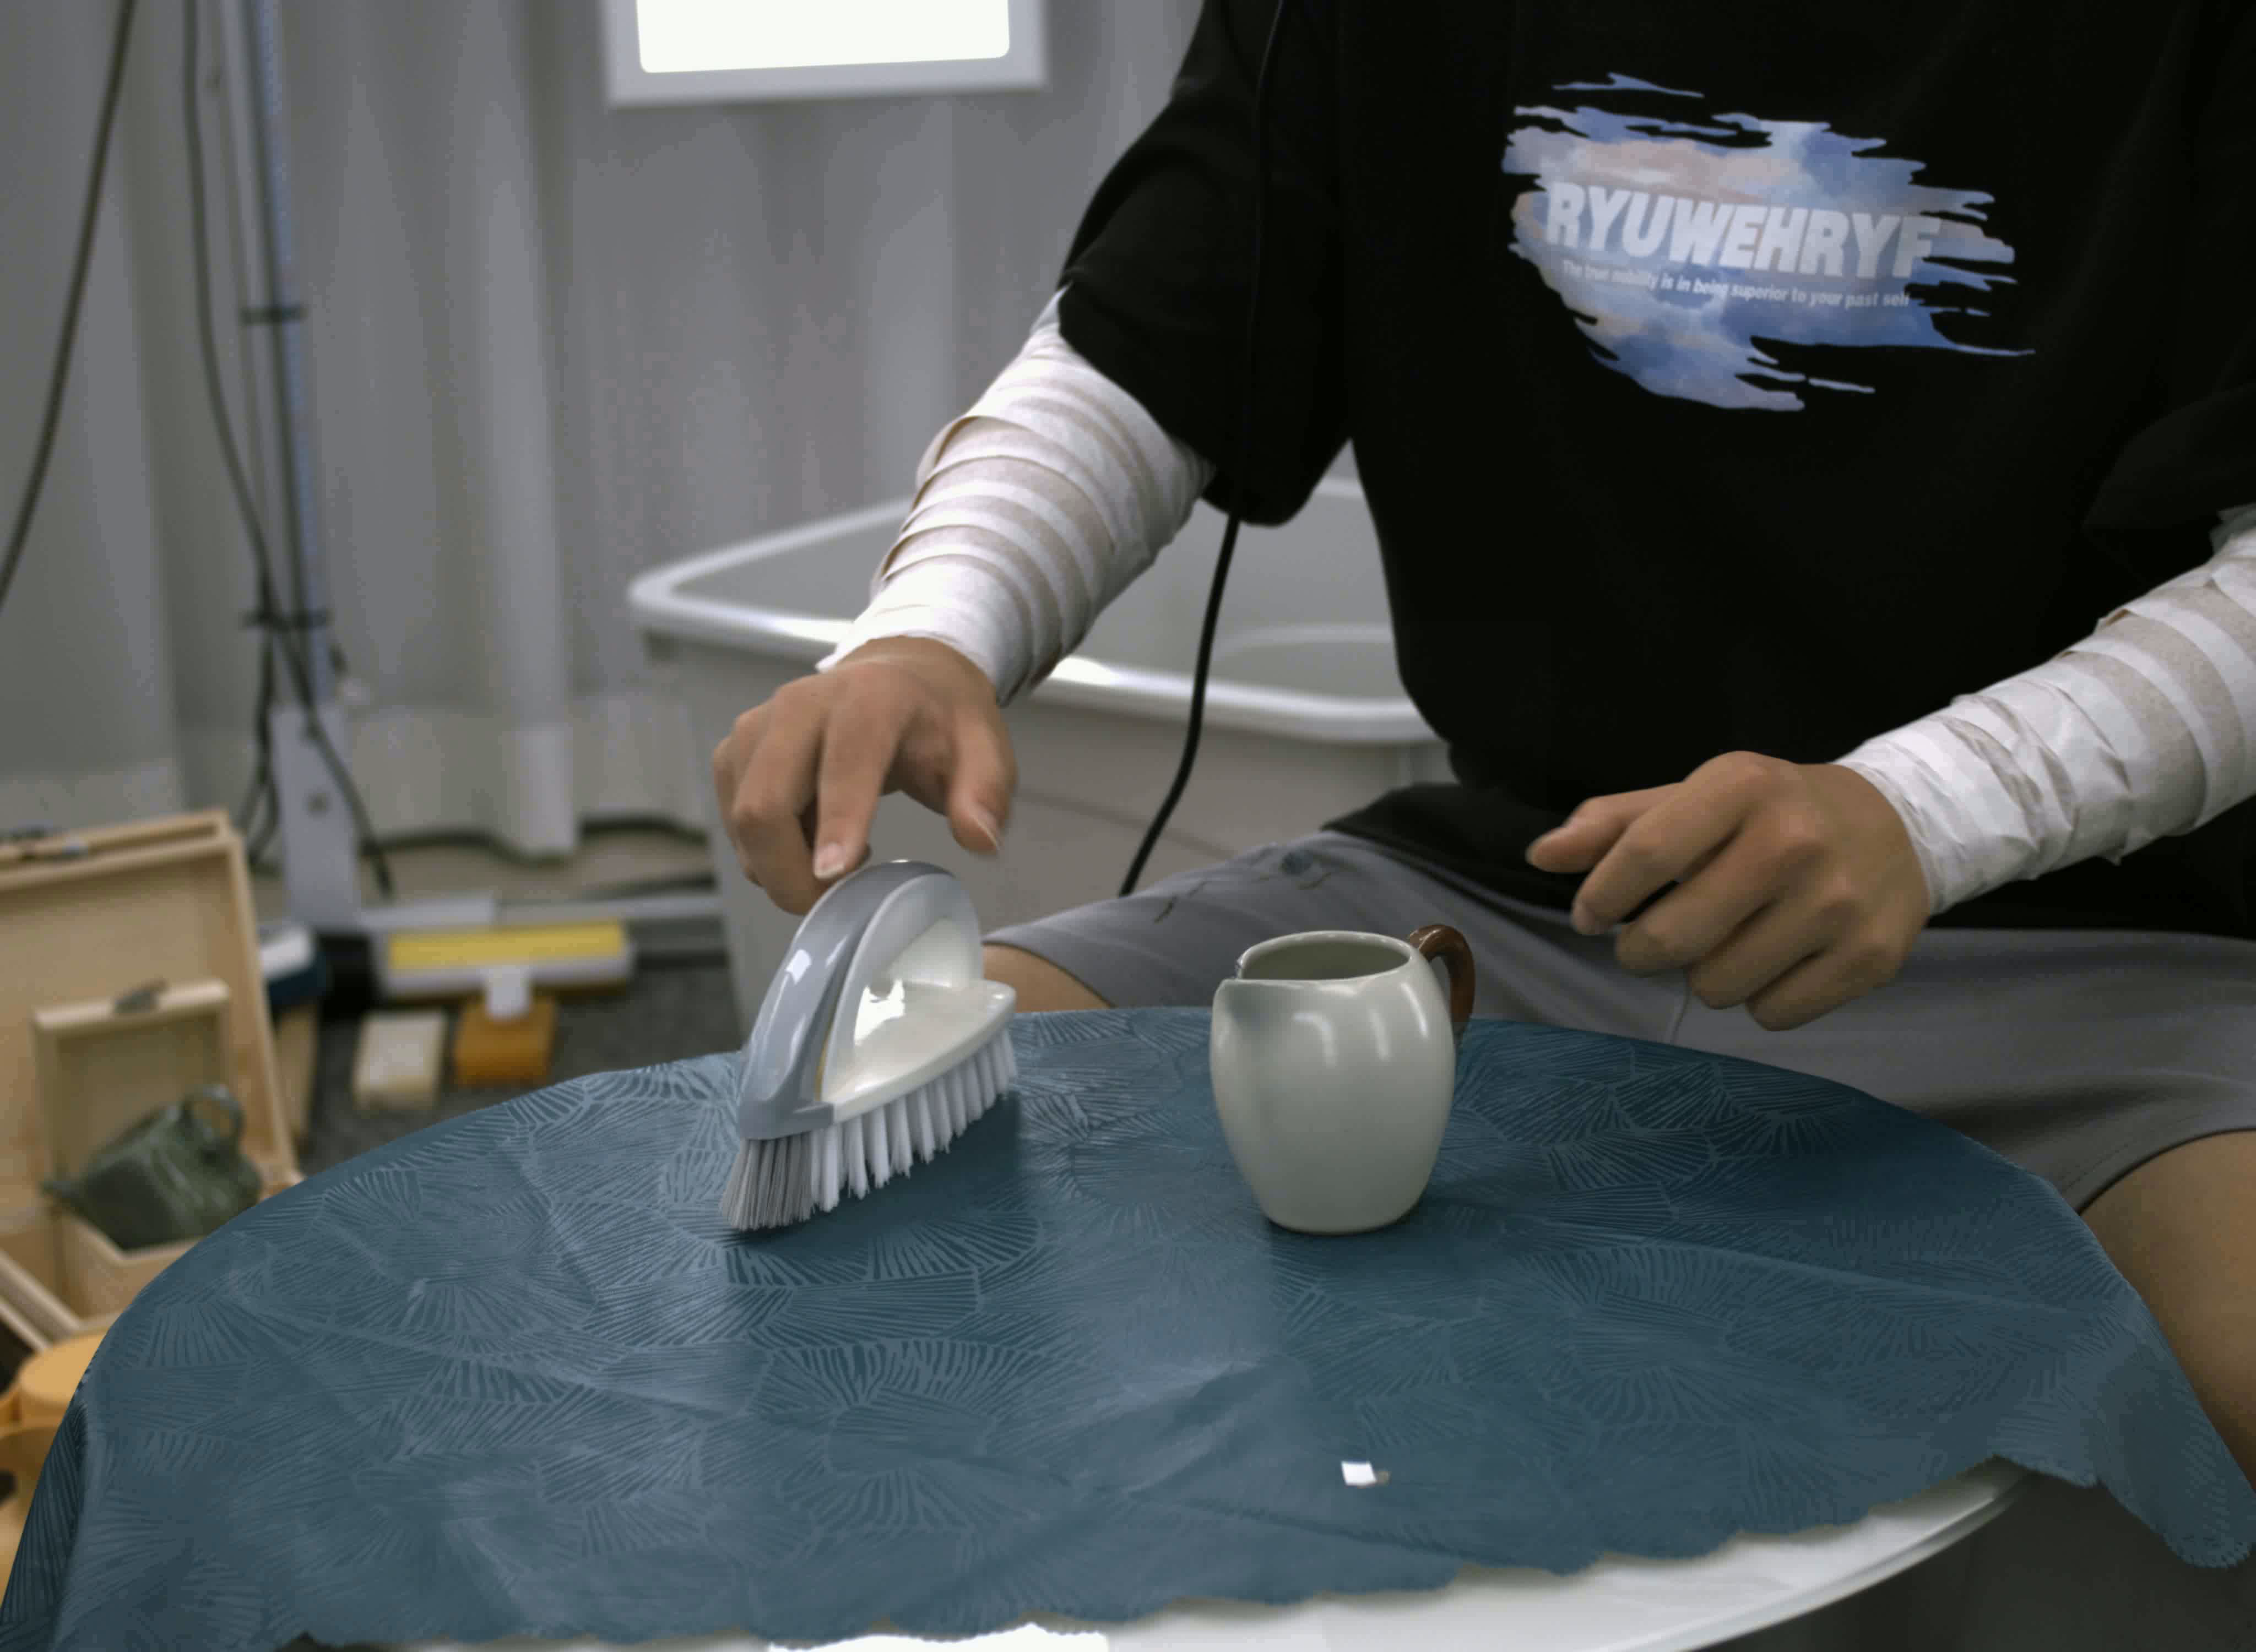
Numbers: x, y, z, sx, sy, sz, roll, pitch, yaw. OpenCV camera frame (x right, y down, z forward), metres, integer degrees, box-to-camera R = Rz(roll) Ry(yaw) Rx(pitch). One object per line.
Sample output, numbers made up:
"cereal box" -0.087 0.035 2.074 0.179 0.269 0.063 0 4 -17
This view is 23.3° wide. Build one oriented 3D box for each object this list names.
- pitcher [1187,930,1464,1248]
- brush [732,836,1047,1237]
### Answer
"pitcher" 0.062 0.078 1.672 0.119 0.087 0.076 -18 24 -42
"brush" -0.085 0.061 1.746 0.061 0.094 0.176 2 19 24
